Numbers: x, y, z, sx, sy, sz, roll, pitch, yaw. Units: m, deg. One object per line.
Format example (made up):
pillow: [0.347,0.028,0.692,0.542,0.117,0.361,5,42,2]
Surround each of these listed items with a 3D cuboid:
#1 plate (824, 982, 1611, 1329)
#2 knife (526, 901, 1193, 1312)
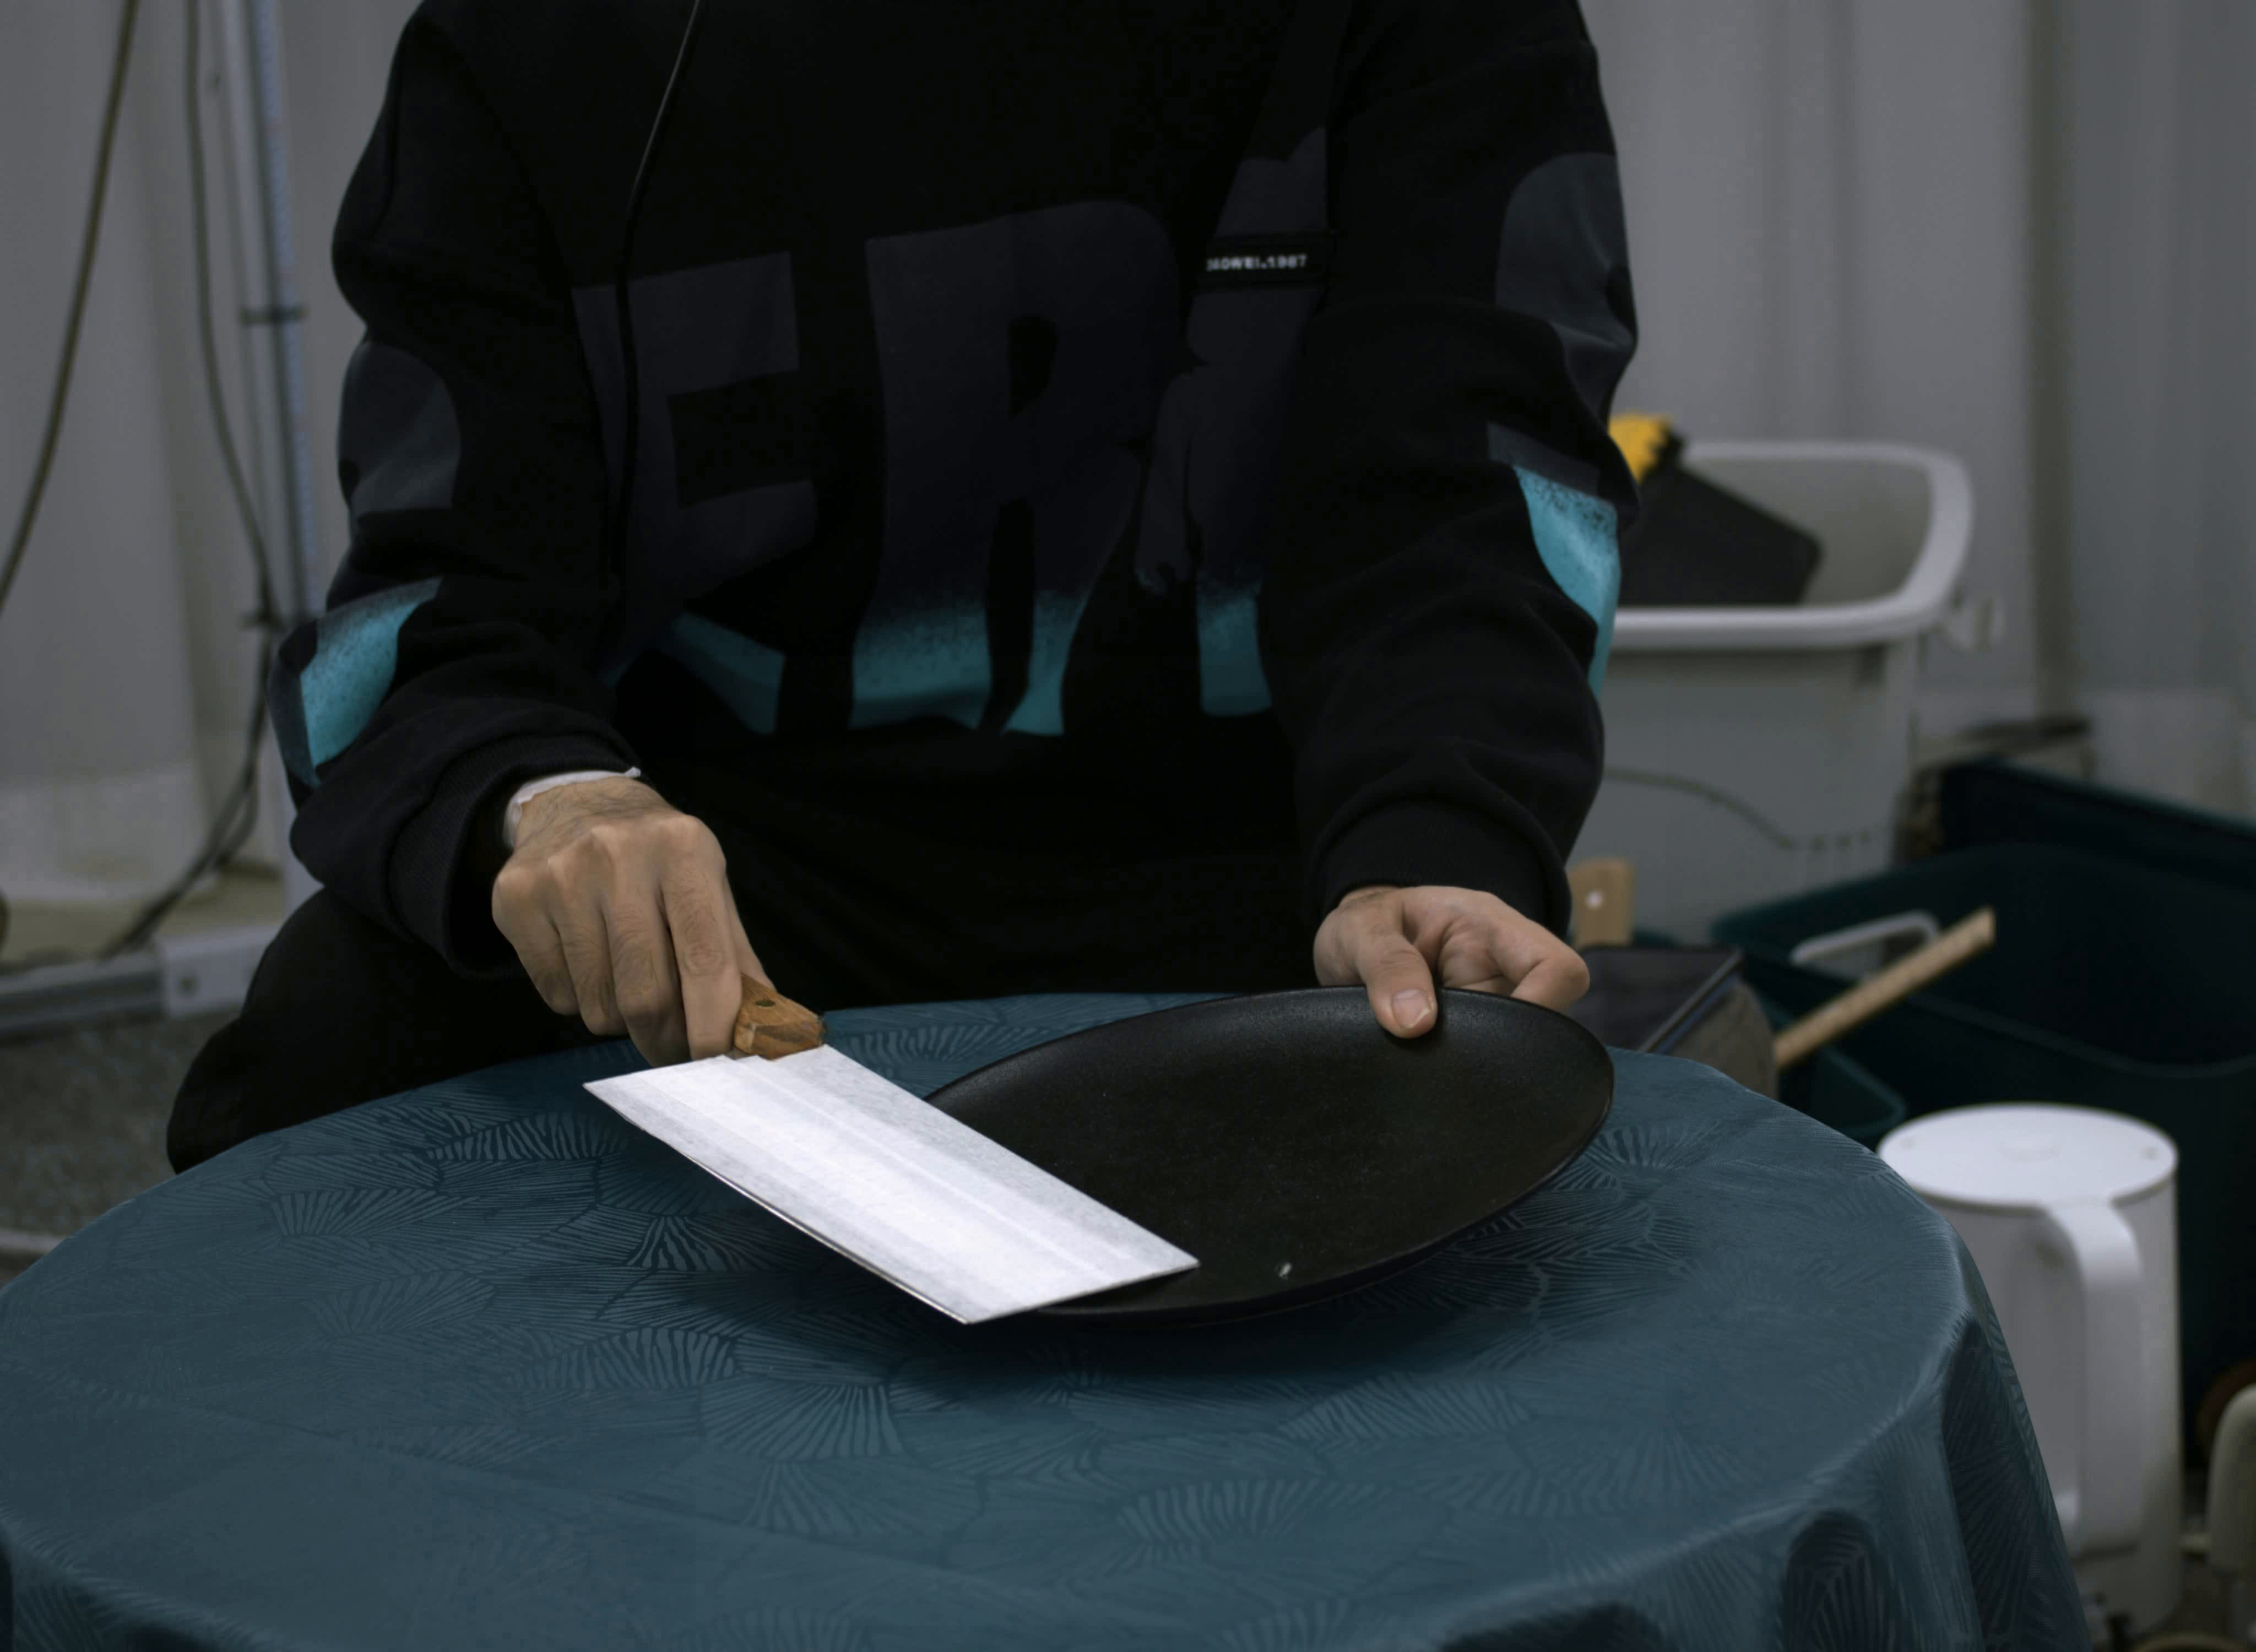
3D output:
plate: [0.028,0.104,1.658,0.243,0.023,0.246,-10,18,3]
knife: [-0.108,0.086,1.677,0.092,0.021,0.308,-11,26,-39]
